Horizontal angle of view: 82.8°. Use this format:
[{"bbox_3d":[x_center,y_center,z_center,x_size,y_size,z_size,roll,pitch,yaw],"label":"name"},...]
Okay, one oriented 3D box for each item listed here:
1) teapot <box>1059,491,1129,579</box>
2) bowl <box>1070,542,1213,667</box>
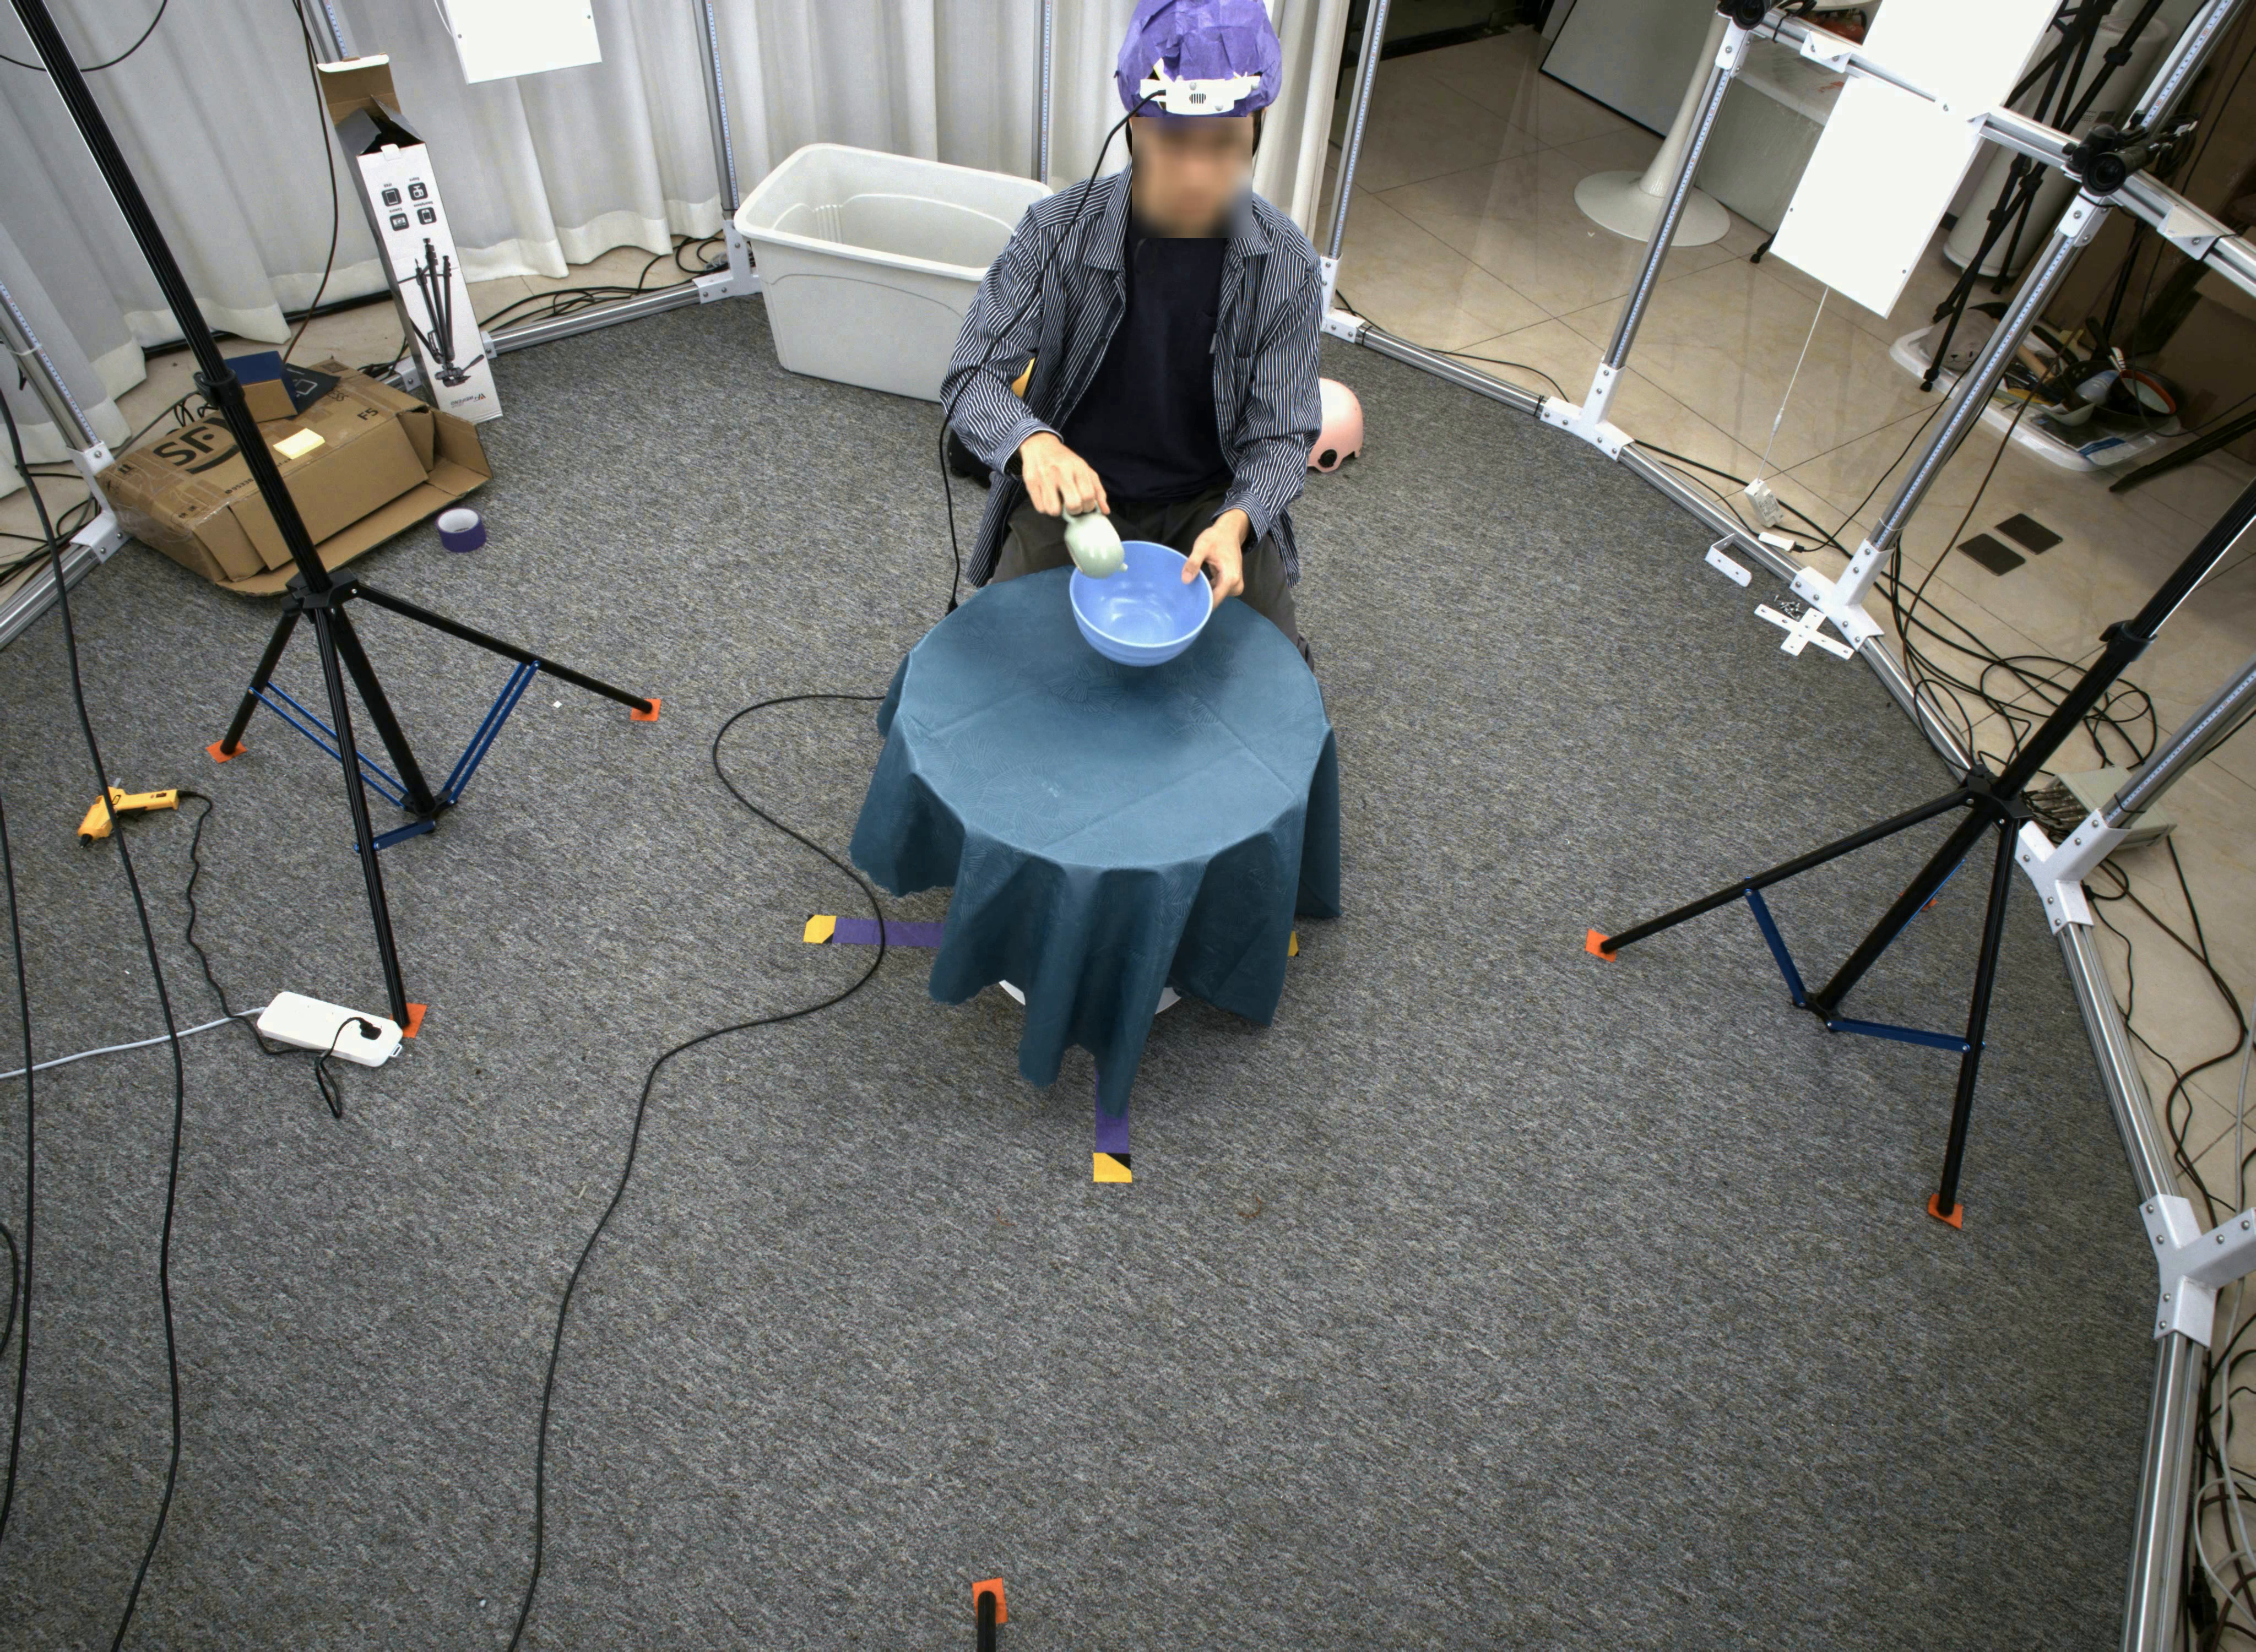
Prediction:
[{"bbox_3d":[-0.049,-0.376,1.679,0.061,0.126,0.093,-30,27,-2],"label":"teapot"},{"bbox_3d":[0.013,-0.291,1.782,0.196,0.093,0.201,4,54,-6],"label":"bowl"}]
